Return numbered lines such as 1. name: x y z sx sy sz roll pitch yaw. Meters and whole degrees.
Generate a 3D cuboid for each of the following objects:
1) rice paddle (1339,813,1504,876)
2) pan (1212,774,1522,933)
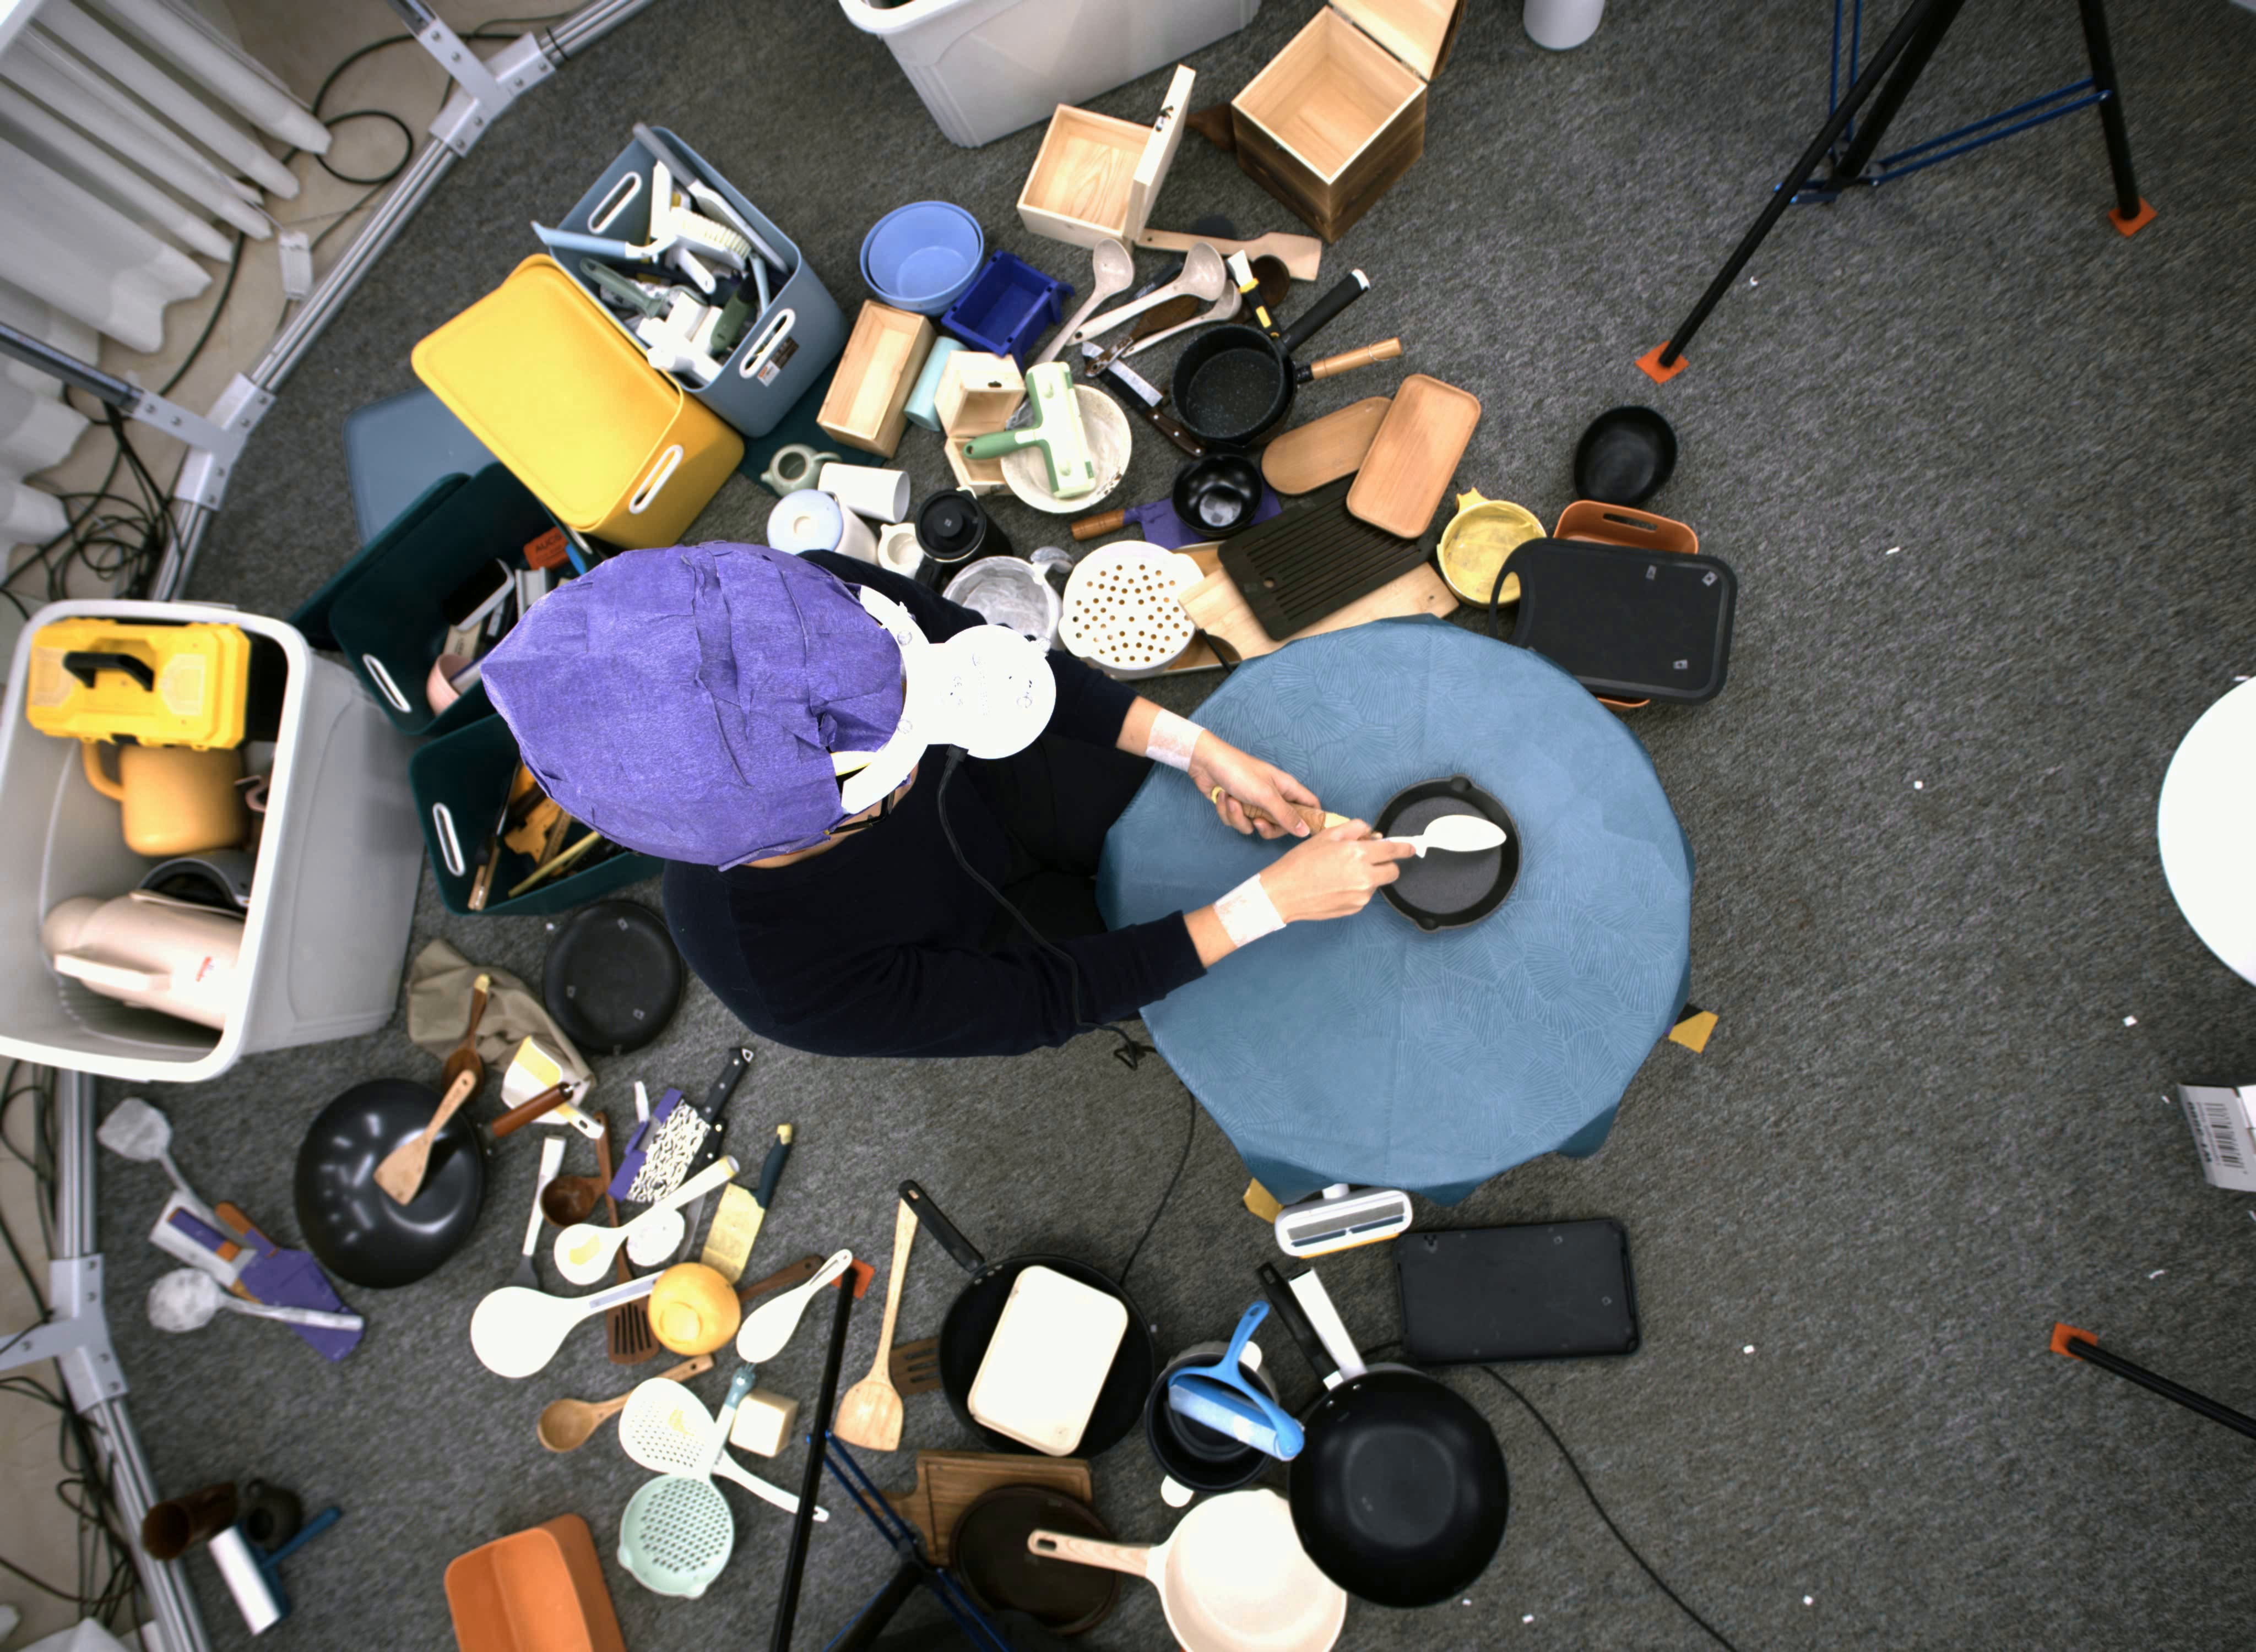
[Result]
1. rice paddle: 0.298 0.012 1.381 0.068 0.203 0.030 41 134 46
2. pan: 0.246 0.005 1.437 0.324 0.049 0.169 16 90 7
